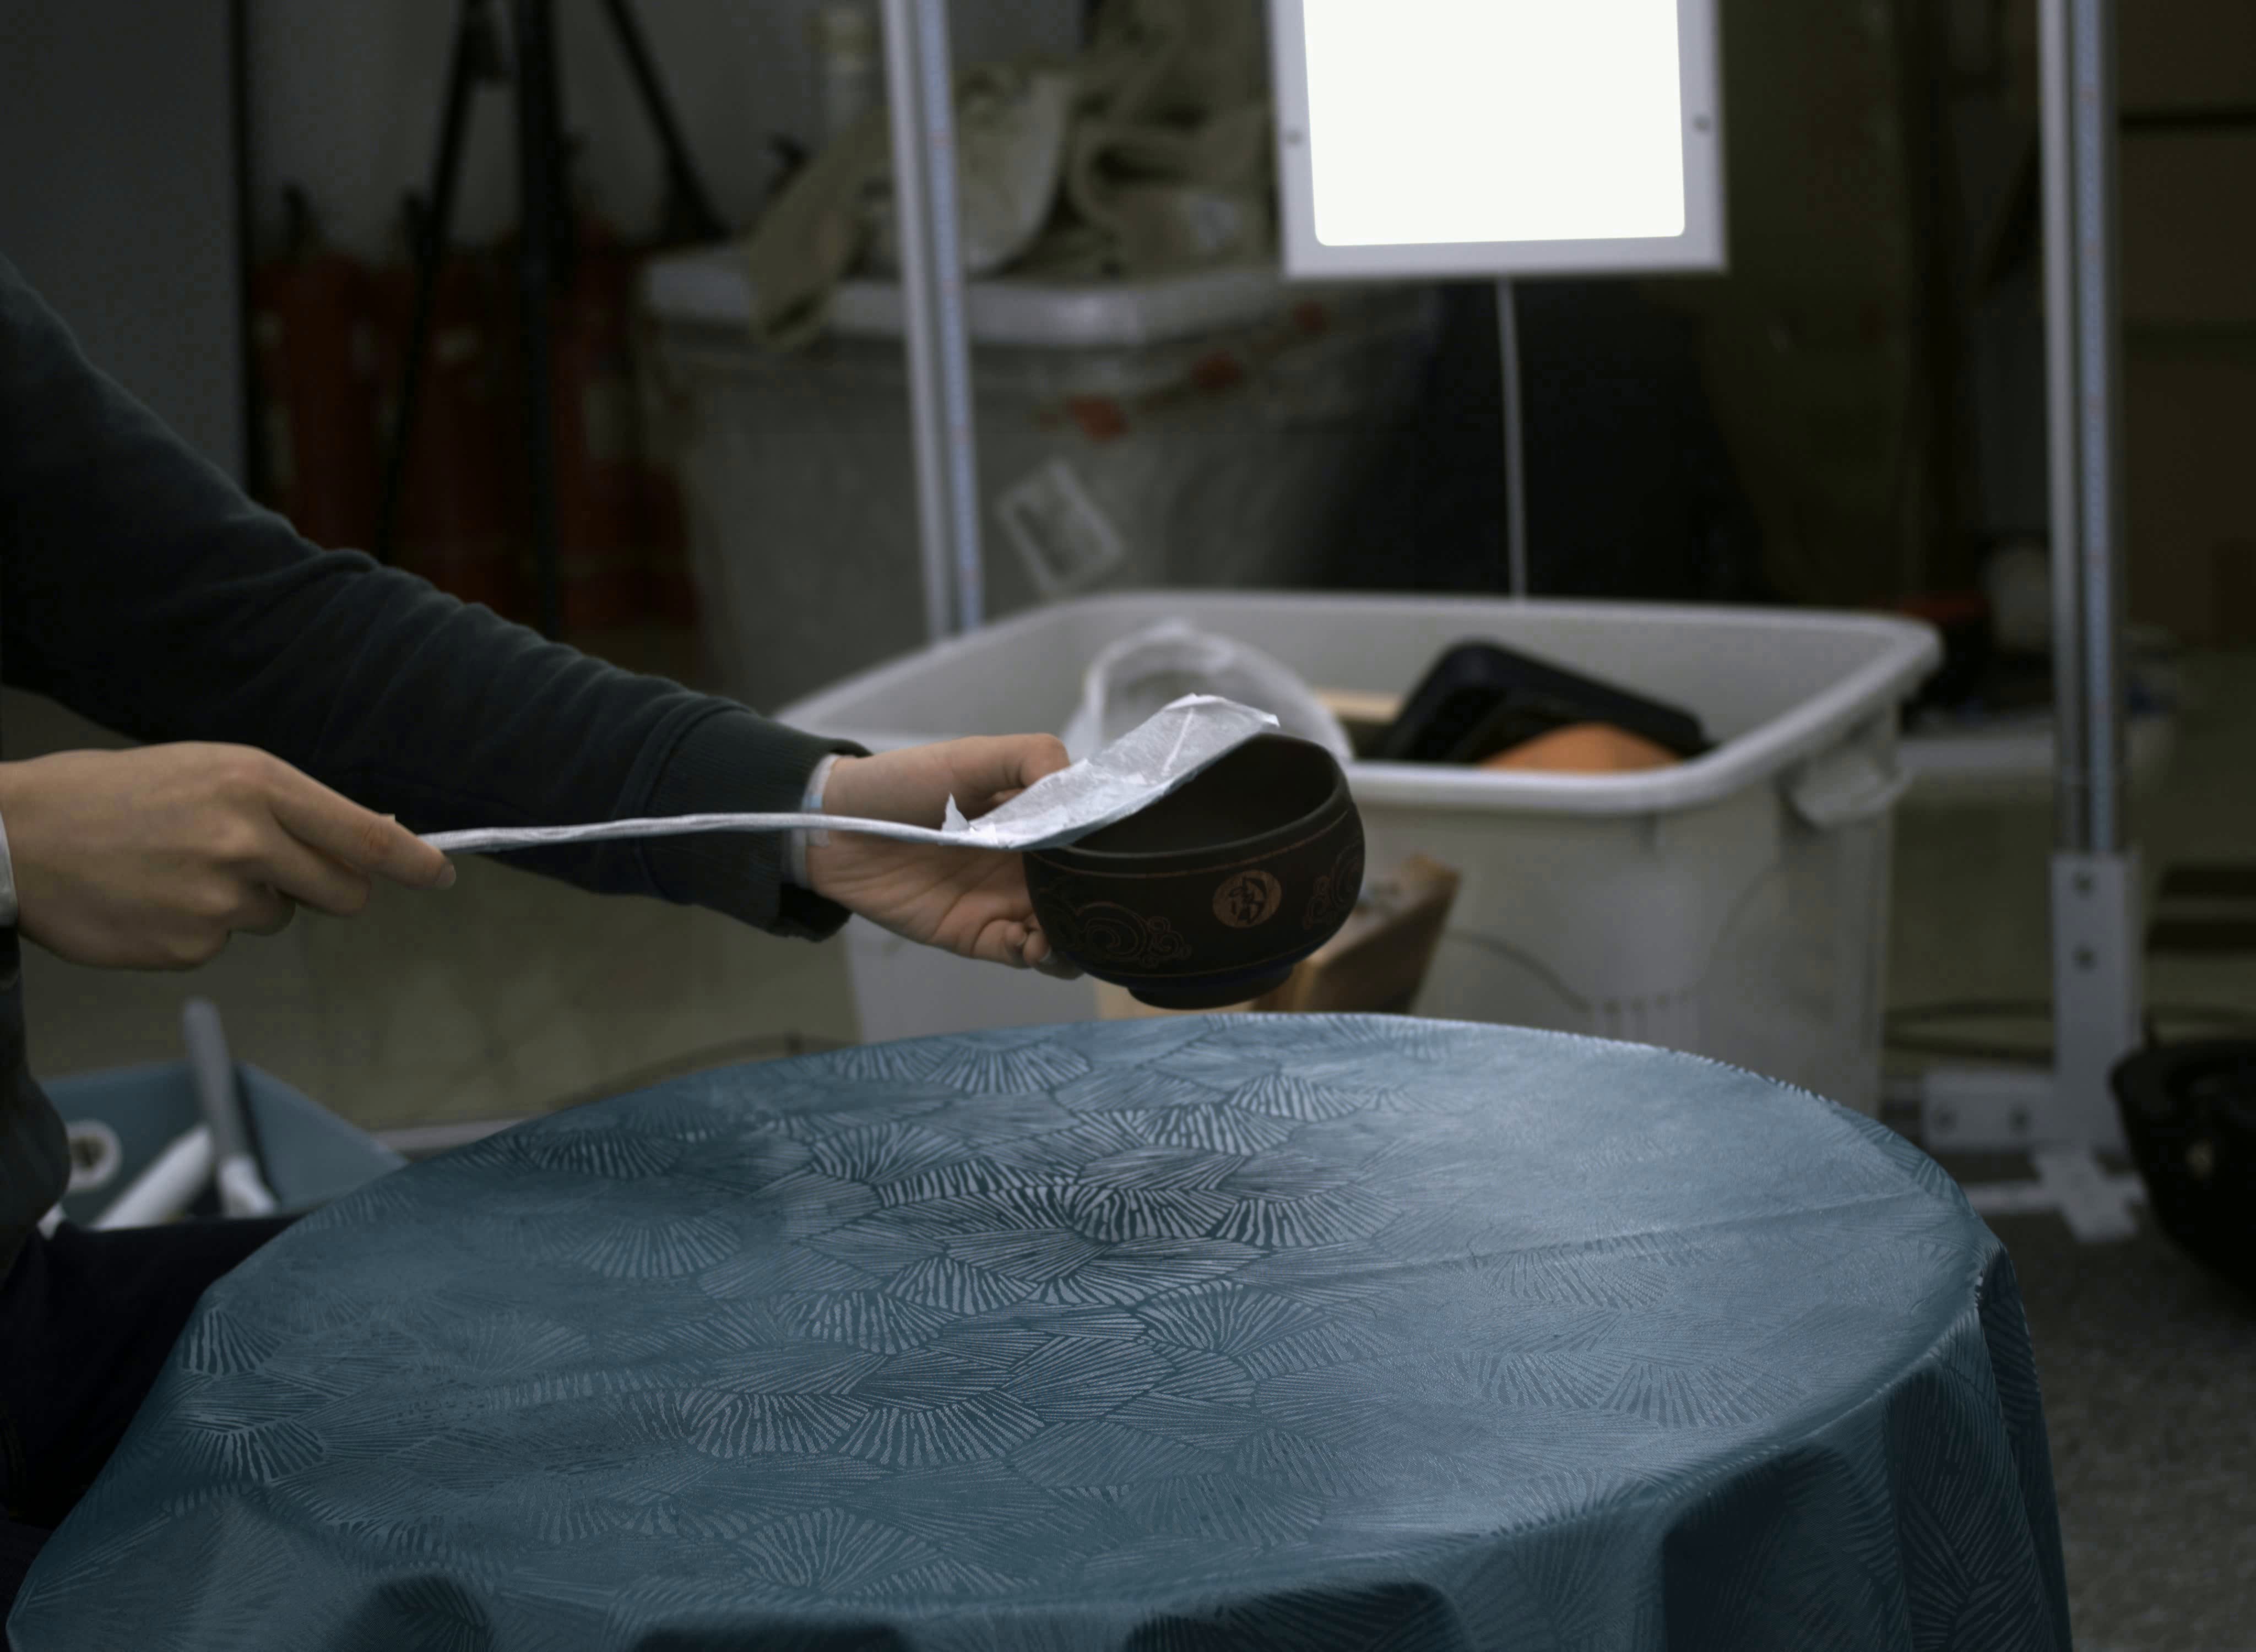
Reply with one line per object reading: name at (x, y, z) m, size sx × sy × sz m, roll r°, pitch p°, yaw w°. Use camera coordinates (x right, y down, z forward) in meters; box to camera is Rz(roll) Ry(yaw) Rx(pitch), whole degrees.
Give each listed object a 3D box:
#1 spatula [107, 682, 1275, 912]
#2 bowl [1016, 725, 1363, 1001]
spatula at (-0.132, -0.008, 1.699) m, size 0.360 × 0.045 × 0.099 m, roll -4°, pitch 9°, yaw -12°
bowl at (0.023, 0.017, 1.860) m, size 0.118 × 0.070 × 0.118 m, roll -7°, pitch 19°, yaw 1°
